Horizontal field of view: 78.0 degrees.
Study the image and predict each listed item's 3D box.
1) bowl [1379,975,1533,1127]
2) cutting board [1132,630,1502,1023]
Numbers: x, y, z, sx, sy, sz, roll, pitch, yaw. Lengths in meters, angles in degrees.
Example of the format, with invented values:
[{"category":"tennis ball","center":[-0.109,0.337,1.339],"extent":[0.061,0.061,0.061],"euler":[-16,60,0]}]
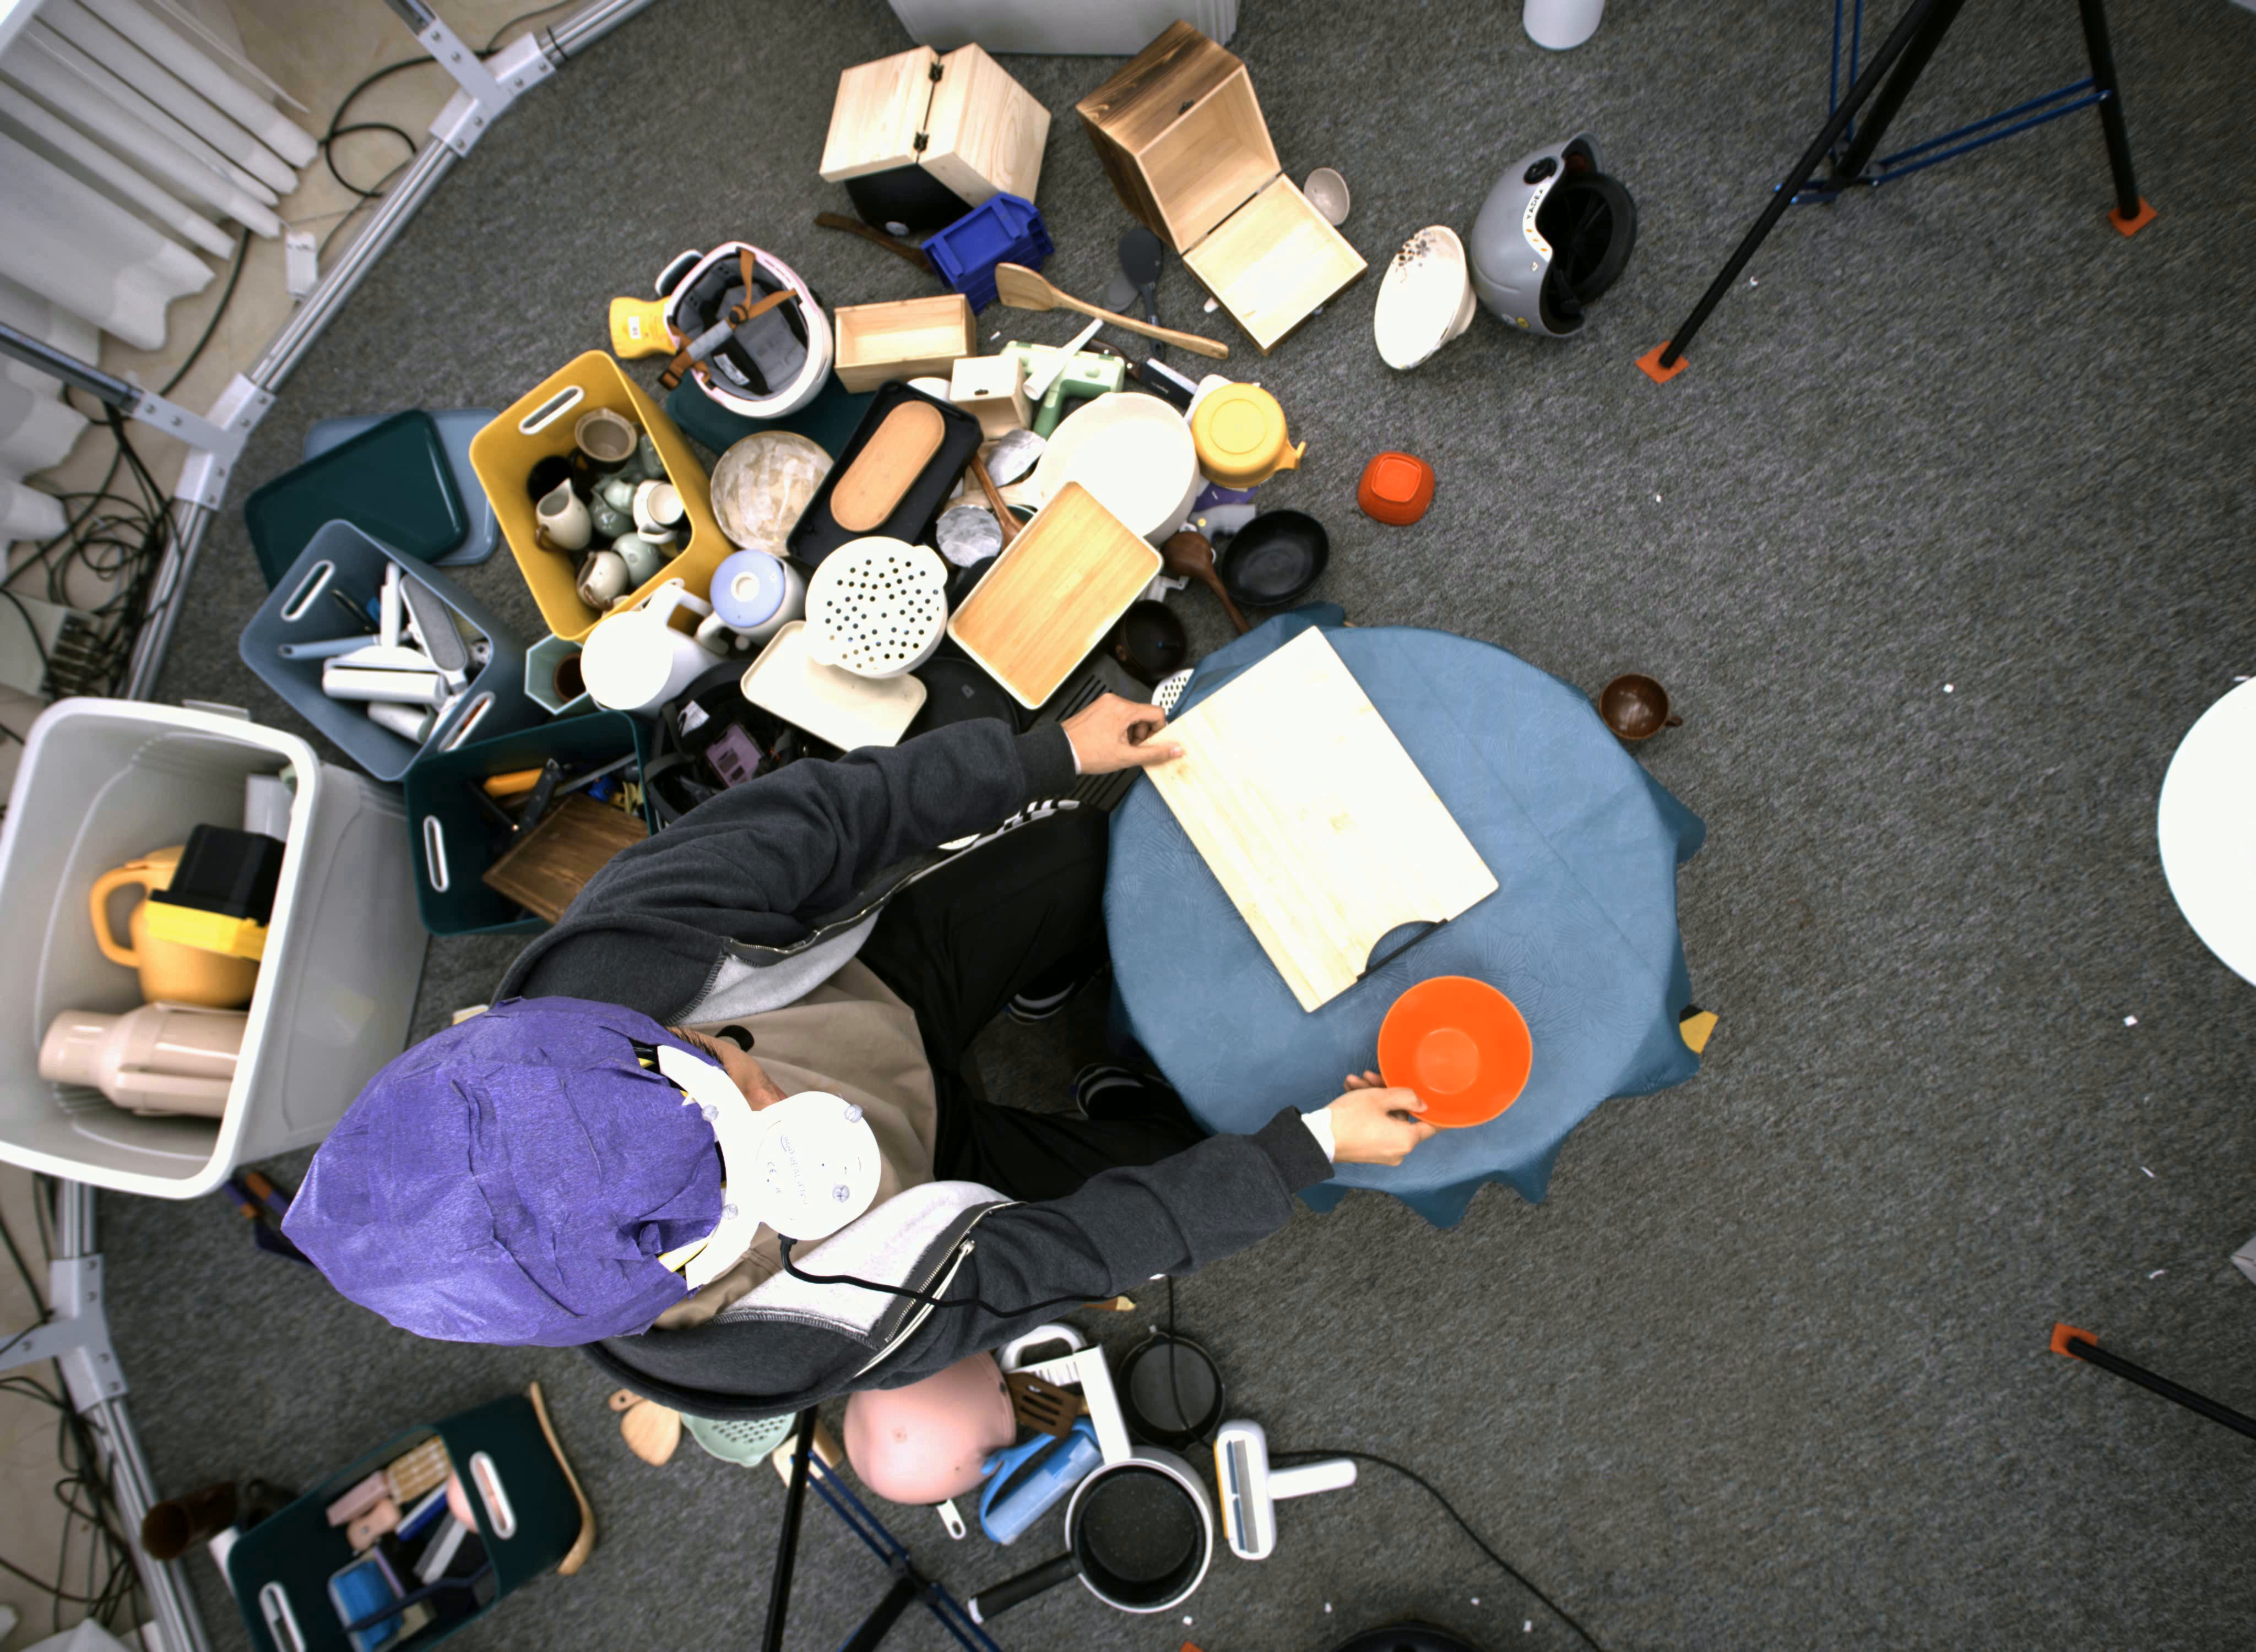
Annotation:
[{"category":"bowl","center":[0.326,0.225,1.388],"extent":[0.148,0.105,0.147],"euler":[-1,83,9]},{"category":"cutting board","center":[0.198,-0.005,1.465],"extent":[0.252,0.023,0.347],"euler":[-35,83,7]}]
